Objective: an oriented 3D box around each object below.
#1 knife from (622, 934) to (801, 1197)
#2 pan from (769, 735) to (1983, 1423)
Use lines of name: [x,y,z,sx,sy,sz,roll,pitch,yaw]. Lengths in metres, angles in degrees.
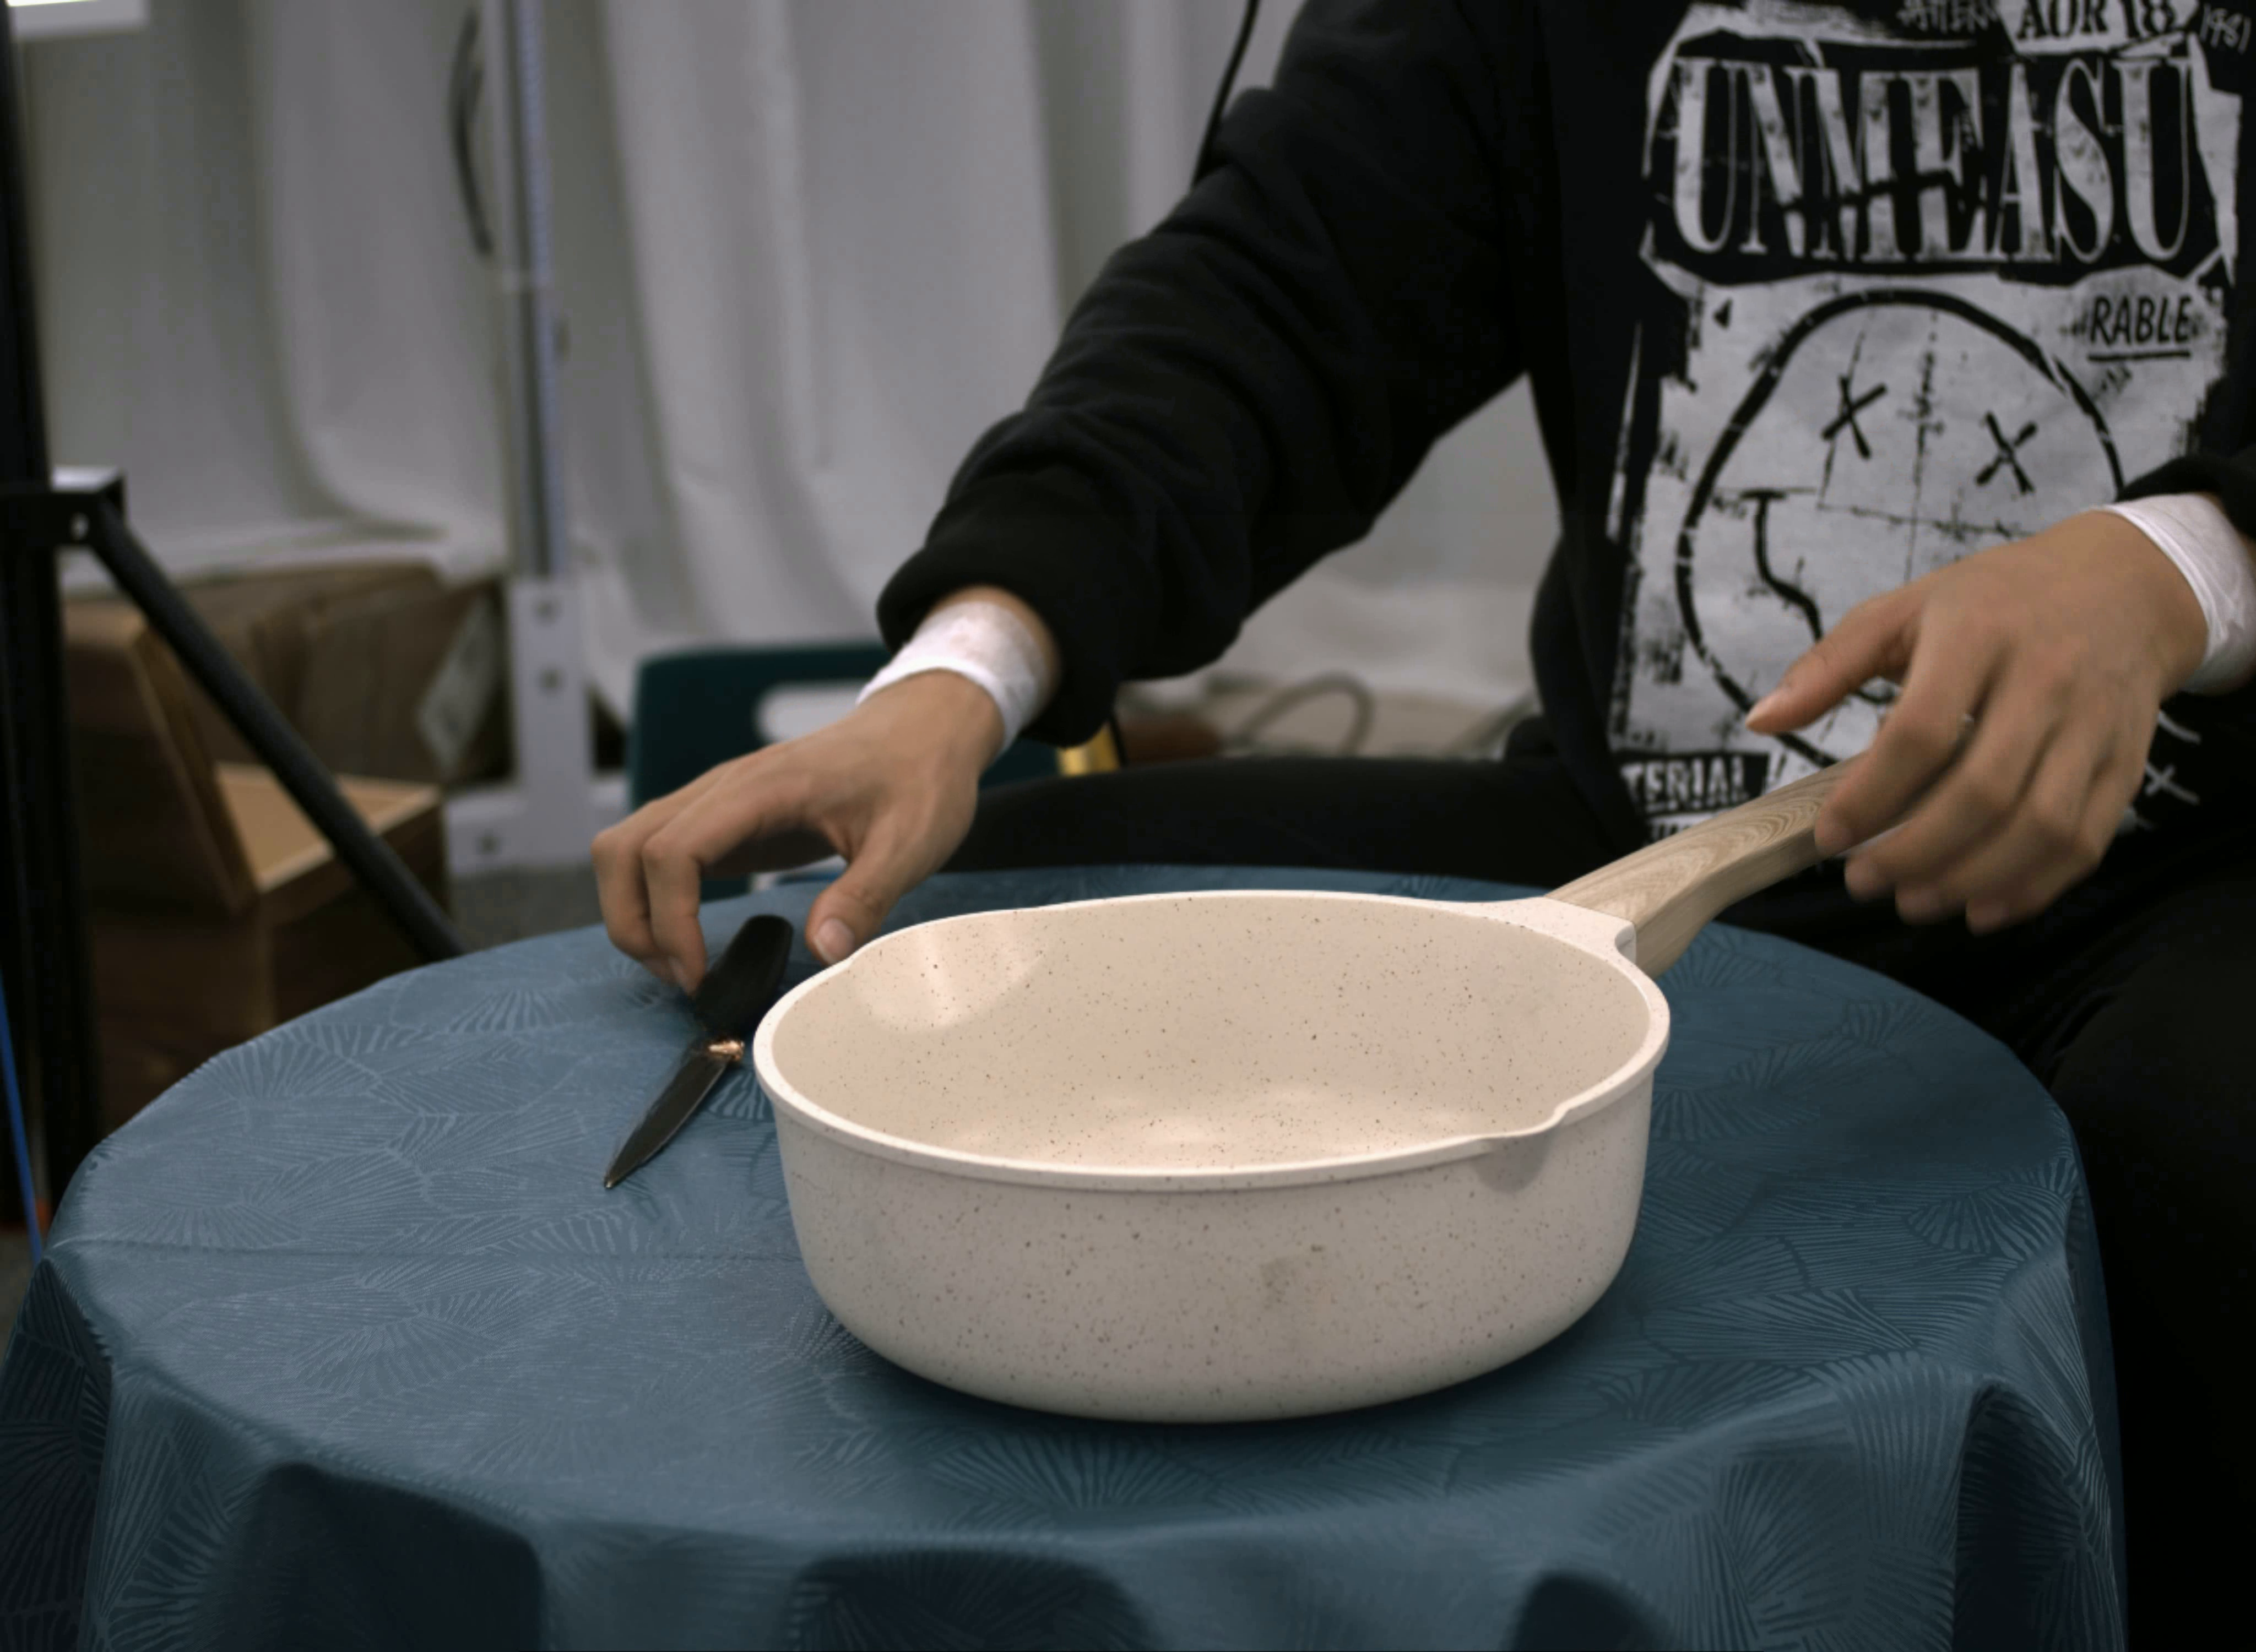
knife: [-0.134,0.074,1.681,0.026,0.017,0.225,16,19,4]
pan: [0.098,0.066,1.505,0.425,0.102,0.269,-15,18,-37]
